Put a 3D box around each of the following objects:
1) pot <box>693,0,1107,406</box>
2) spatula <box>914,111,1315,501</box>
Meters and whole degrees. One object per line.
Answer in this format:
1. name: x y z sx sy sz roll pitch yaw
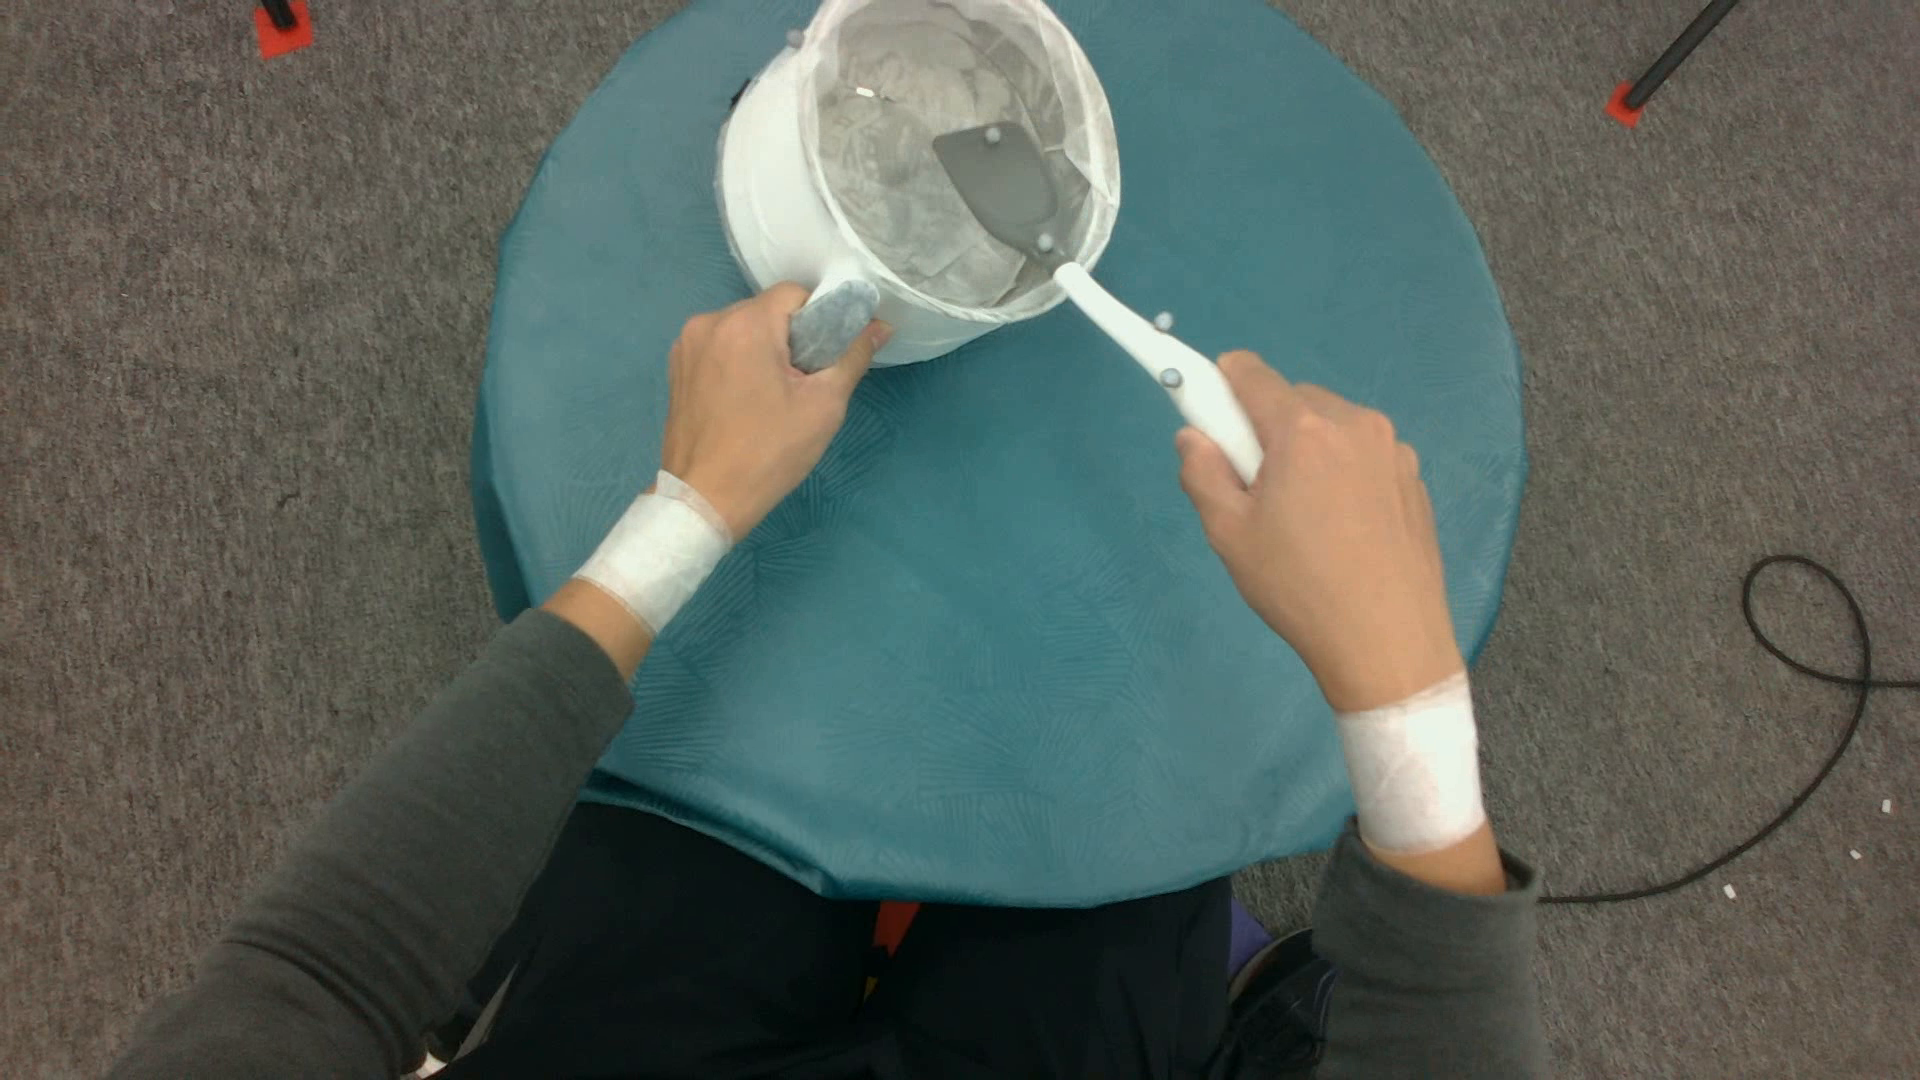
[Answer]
1. pot: -0.046 -0.169 0.701 0.178 0.136 0.234 39 66 -22
2. spatula: 0.062 -0.119 0.629 0.059 0.032 0.288 -21 50 -18
